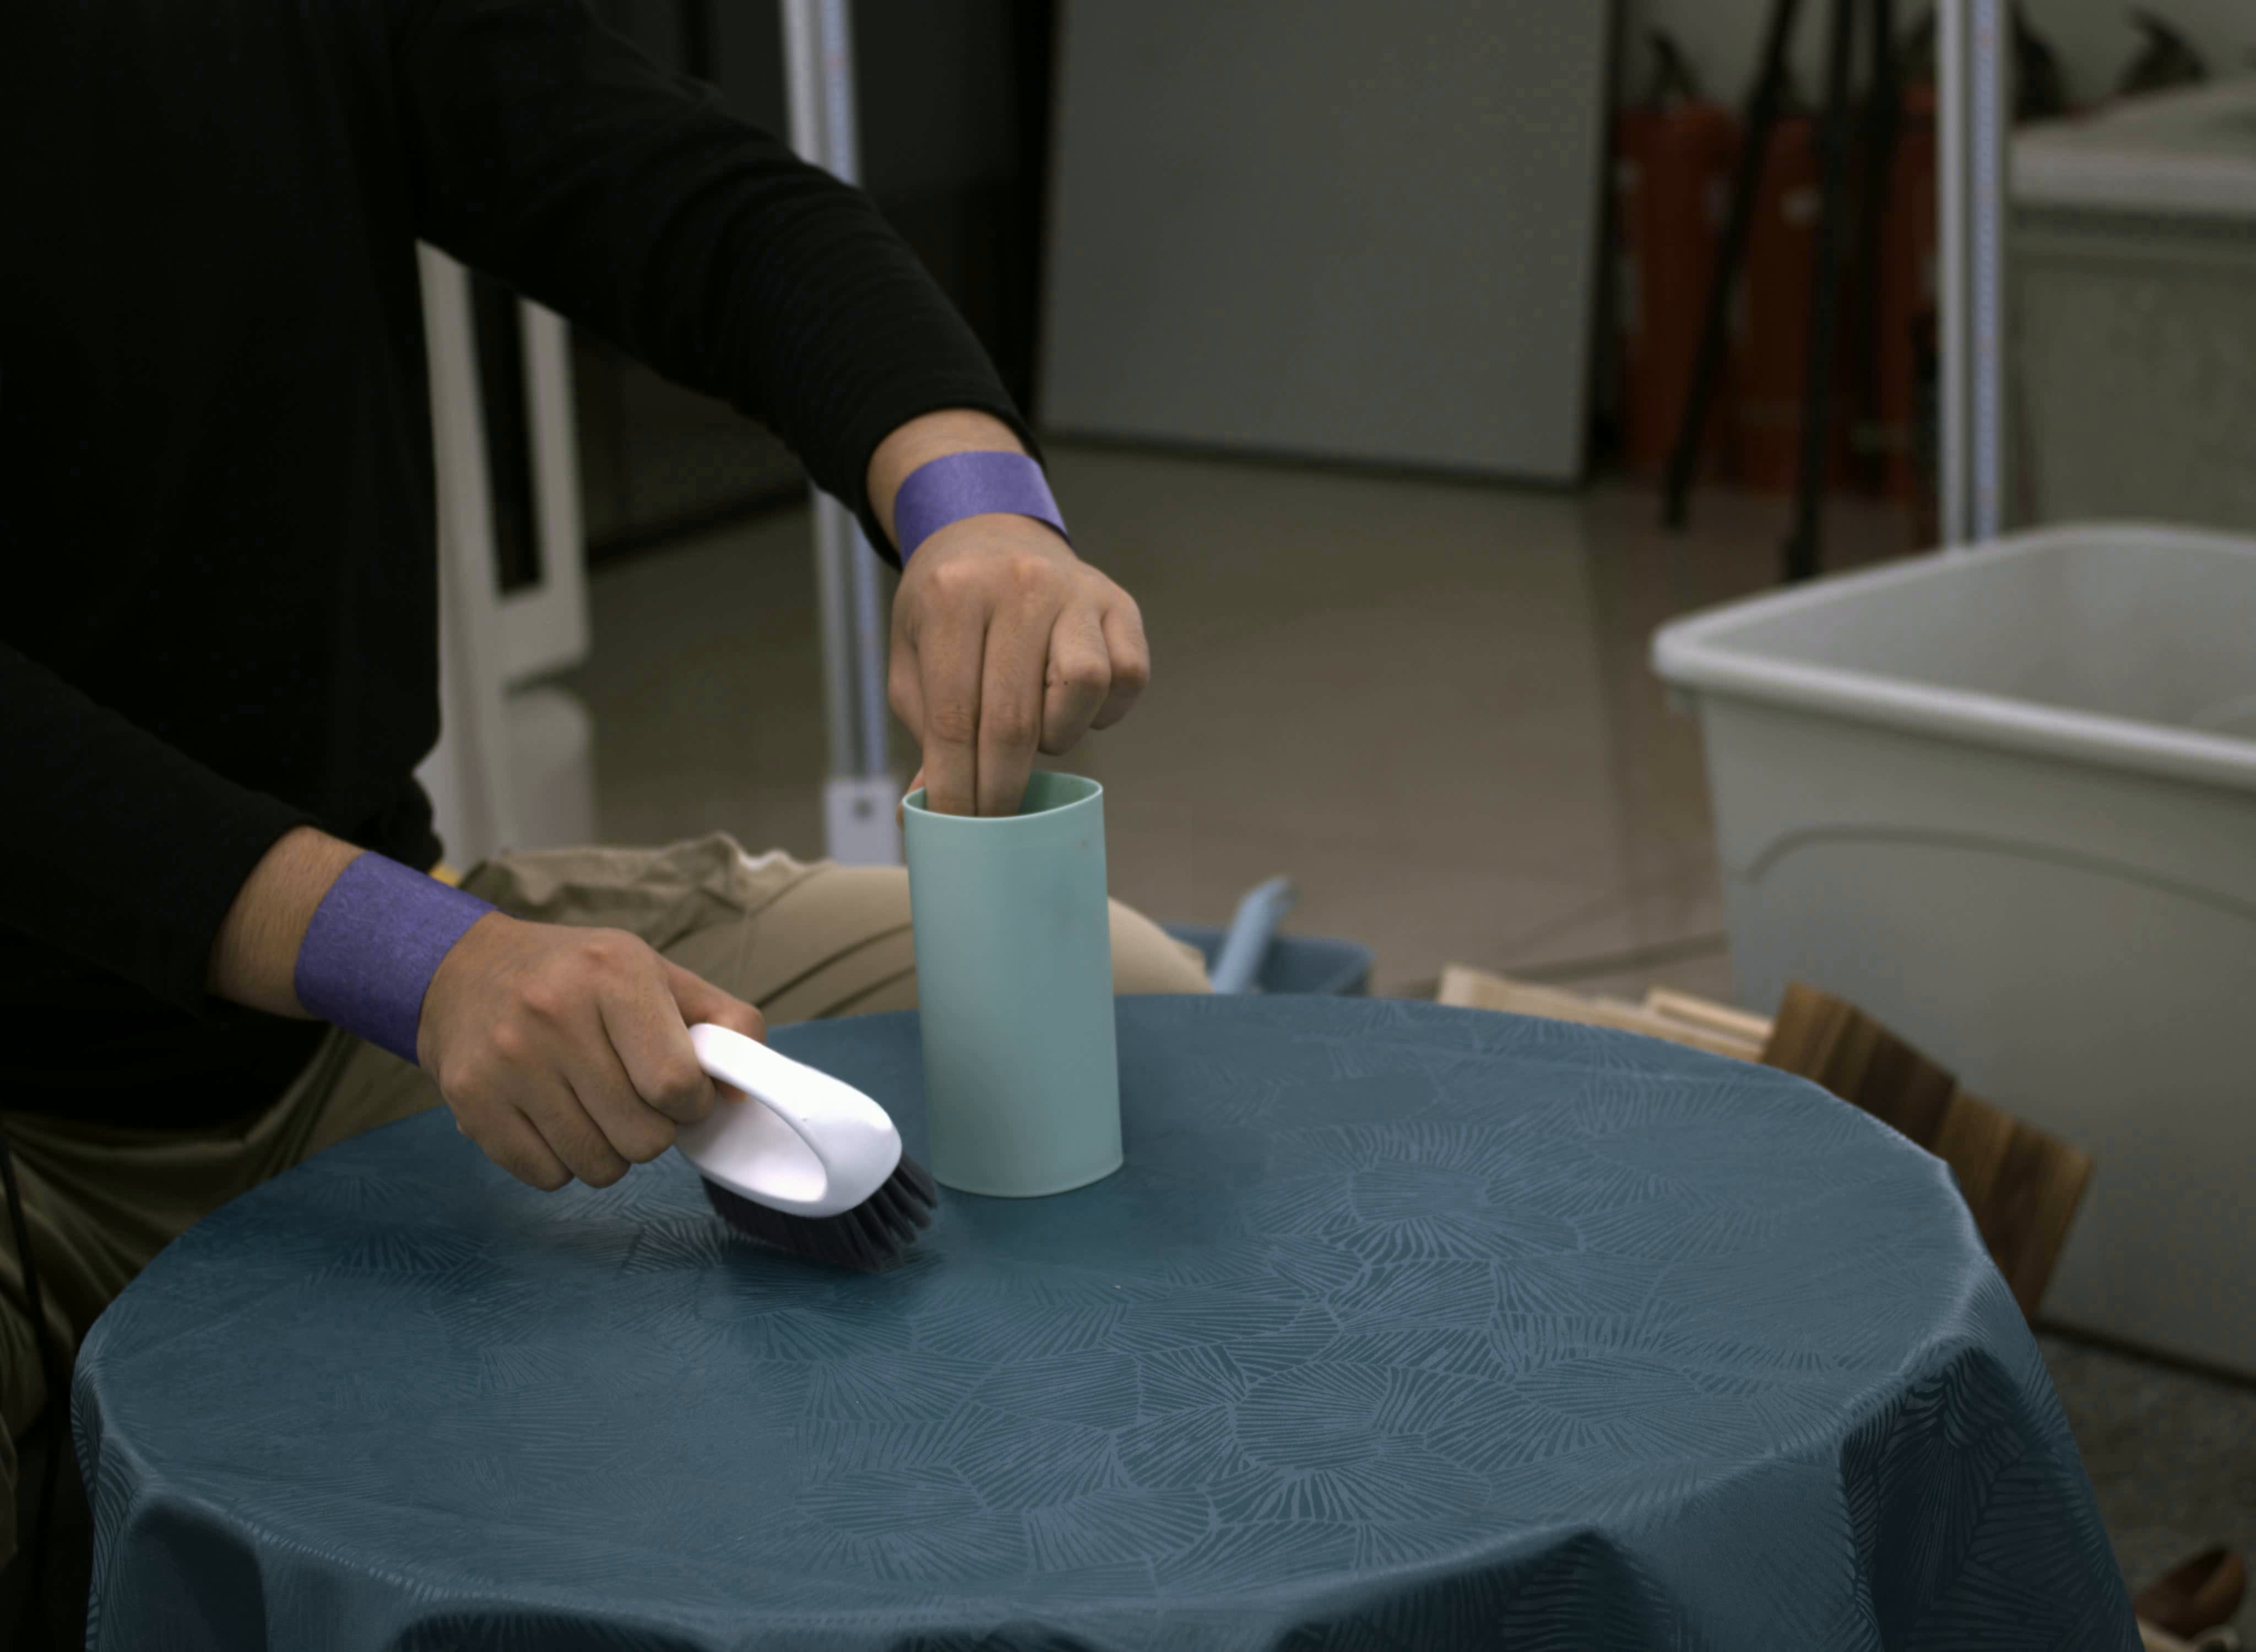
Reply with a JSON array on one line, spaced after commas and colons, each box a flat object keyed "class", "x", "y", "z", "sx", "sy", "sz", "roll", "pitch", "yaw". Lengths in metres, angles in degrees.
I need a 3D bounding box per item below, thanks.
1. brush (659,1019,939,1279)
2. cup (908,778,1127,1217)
[{"class": "brush", "x": -0.112, "y": 0.095, "z": 1.724, "sx": 0.050, "sy": 0.072, "sz": 0.100, "roll": -46, "pitch": 38, "yaw": -17}, {"class": "cup", "x": -0.037, "y": 0.056, "z": 1.785, "sx": 0.066, "sy": 0.134, "sz": 0.067, "roll": -4, "pitch": 14, "yaw": 0}]
